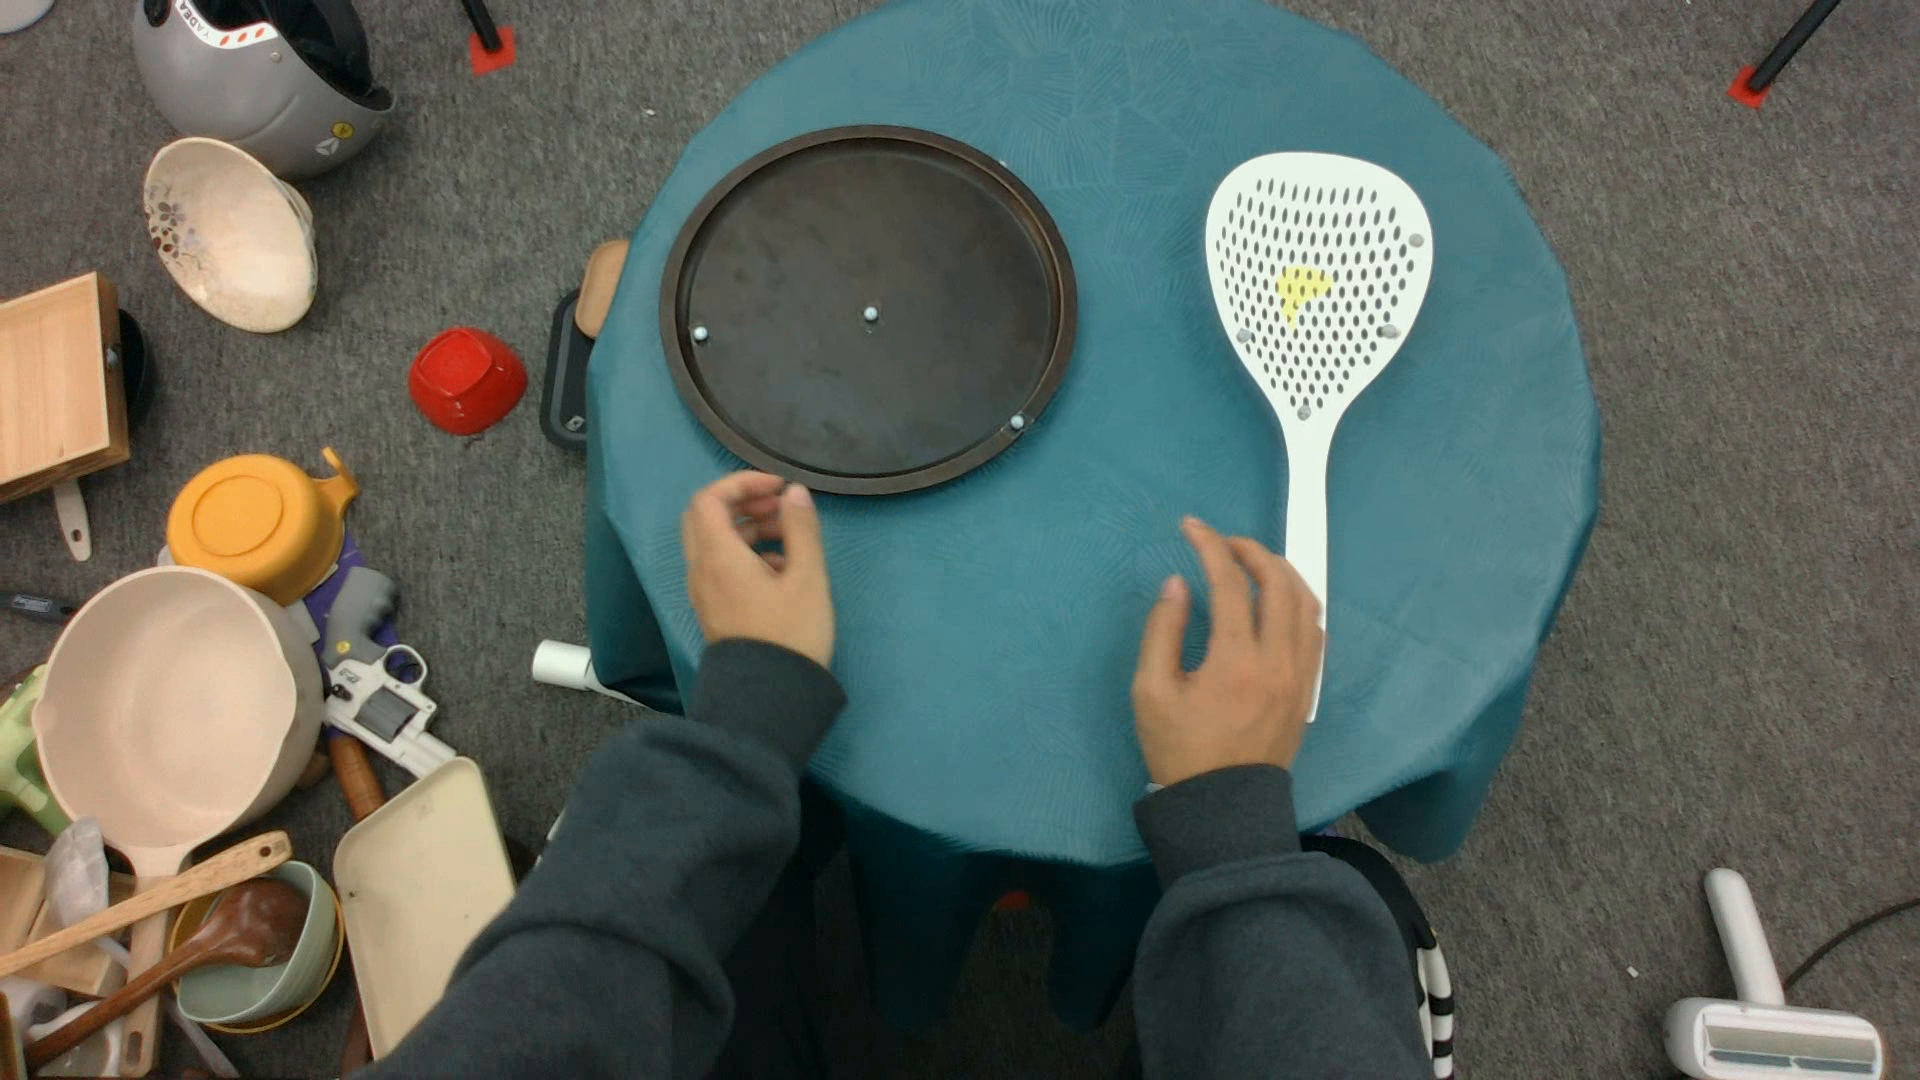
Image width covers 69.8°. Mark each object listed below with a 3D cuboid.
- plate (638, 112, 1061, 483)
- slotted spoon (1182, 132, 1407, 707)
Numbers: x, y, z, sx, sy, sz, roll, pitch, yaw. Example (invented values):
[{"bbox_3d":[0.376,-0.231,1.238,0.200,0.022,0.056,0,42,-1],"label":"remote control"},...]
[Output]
[{"bbox_3d":[-0.066,-0.150,0.832,0.255,0.029,0.255,1,70,-2],"label":"plate"},{"bbox_3d":[0.191,-0.079,0.803,0.137,0.050,0.349,5,69,-2],"label":"slotted spoon"}]
